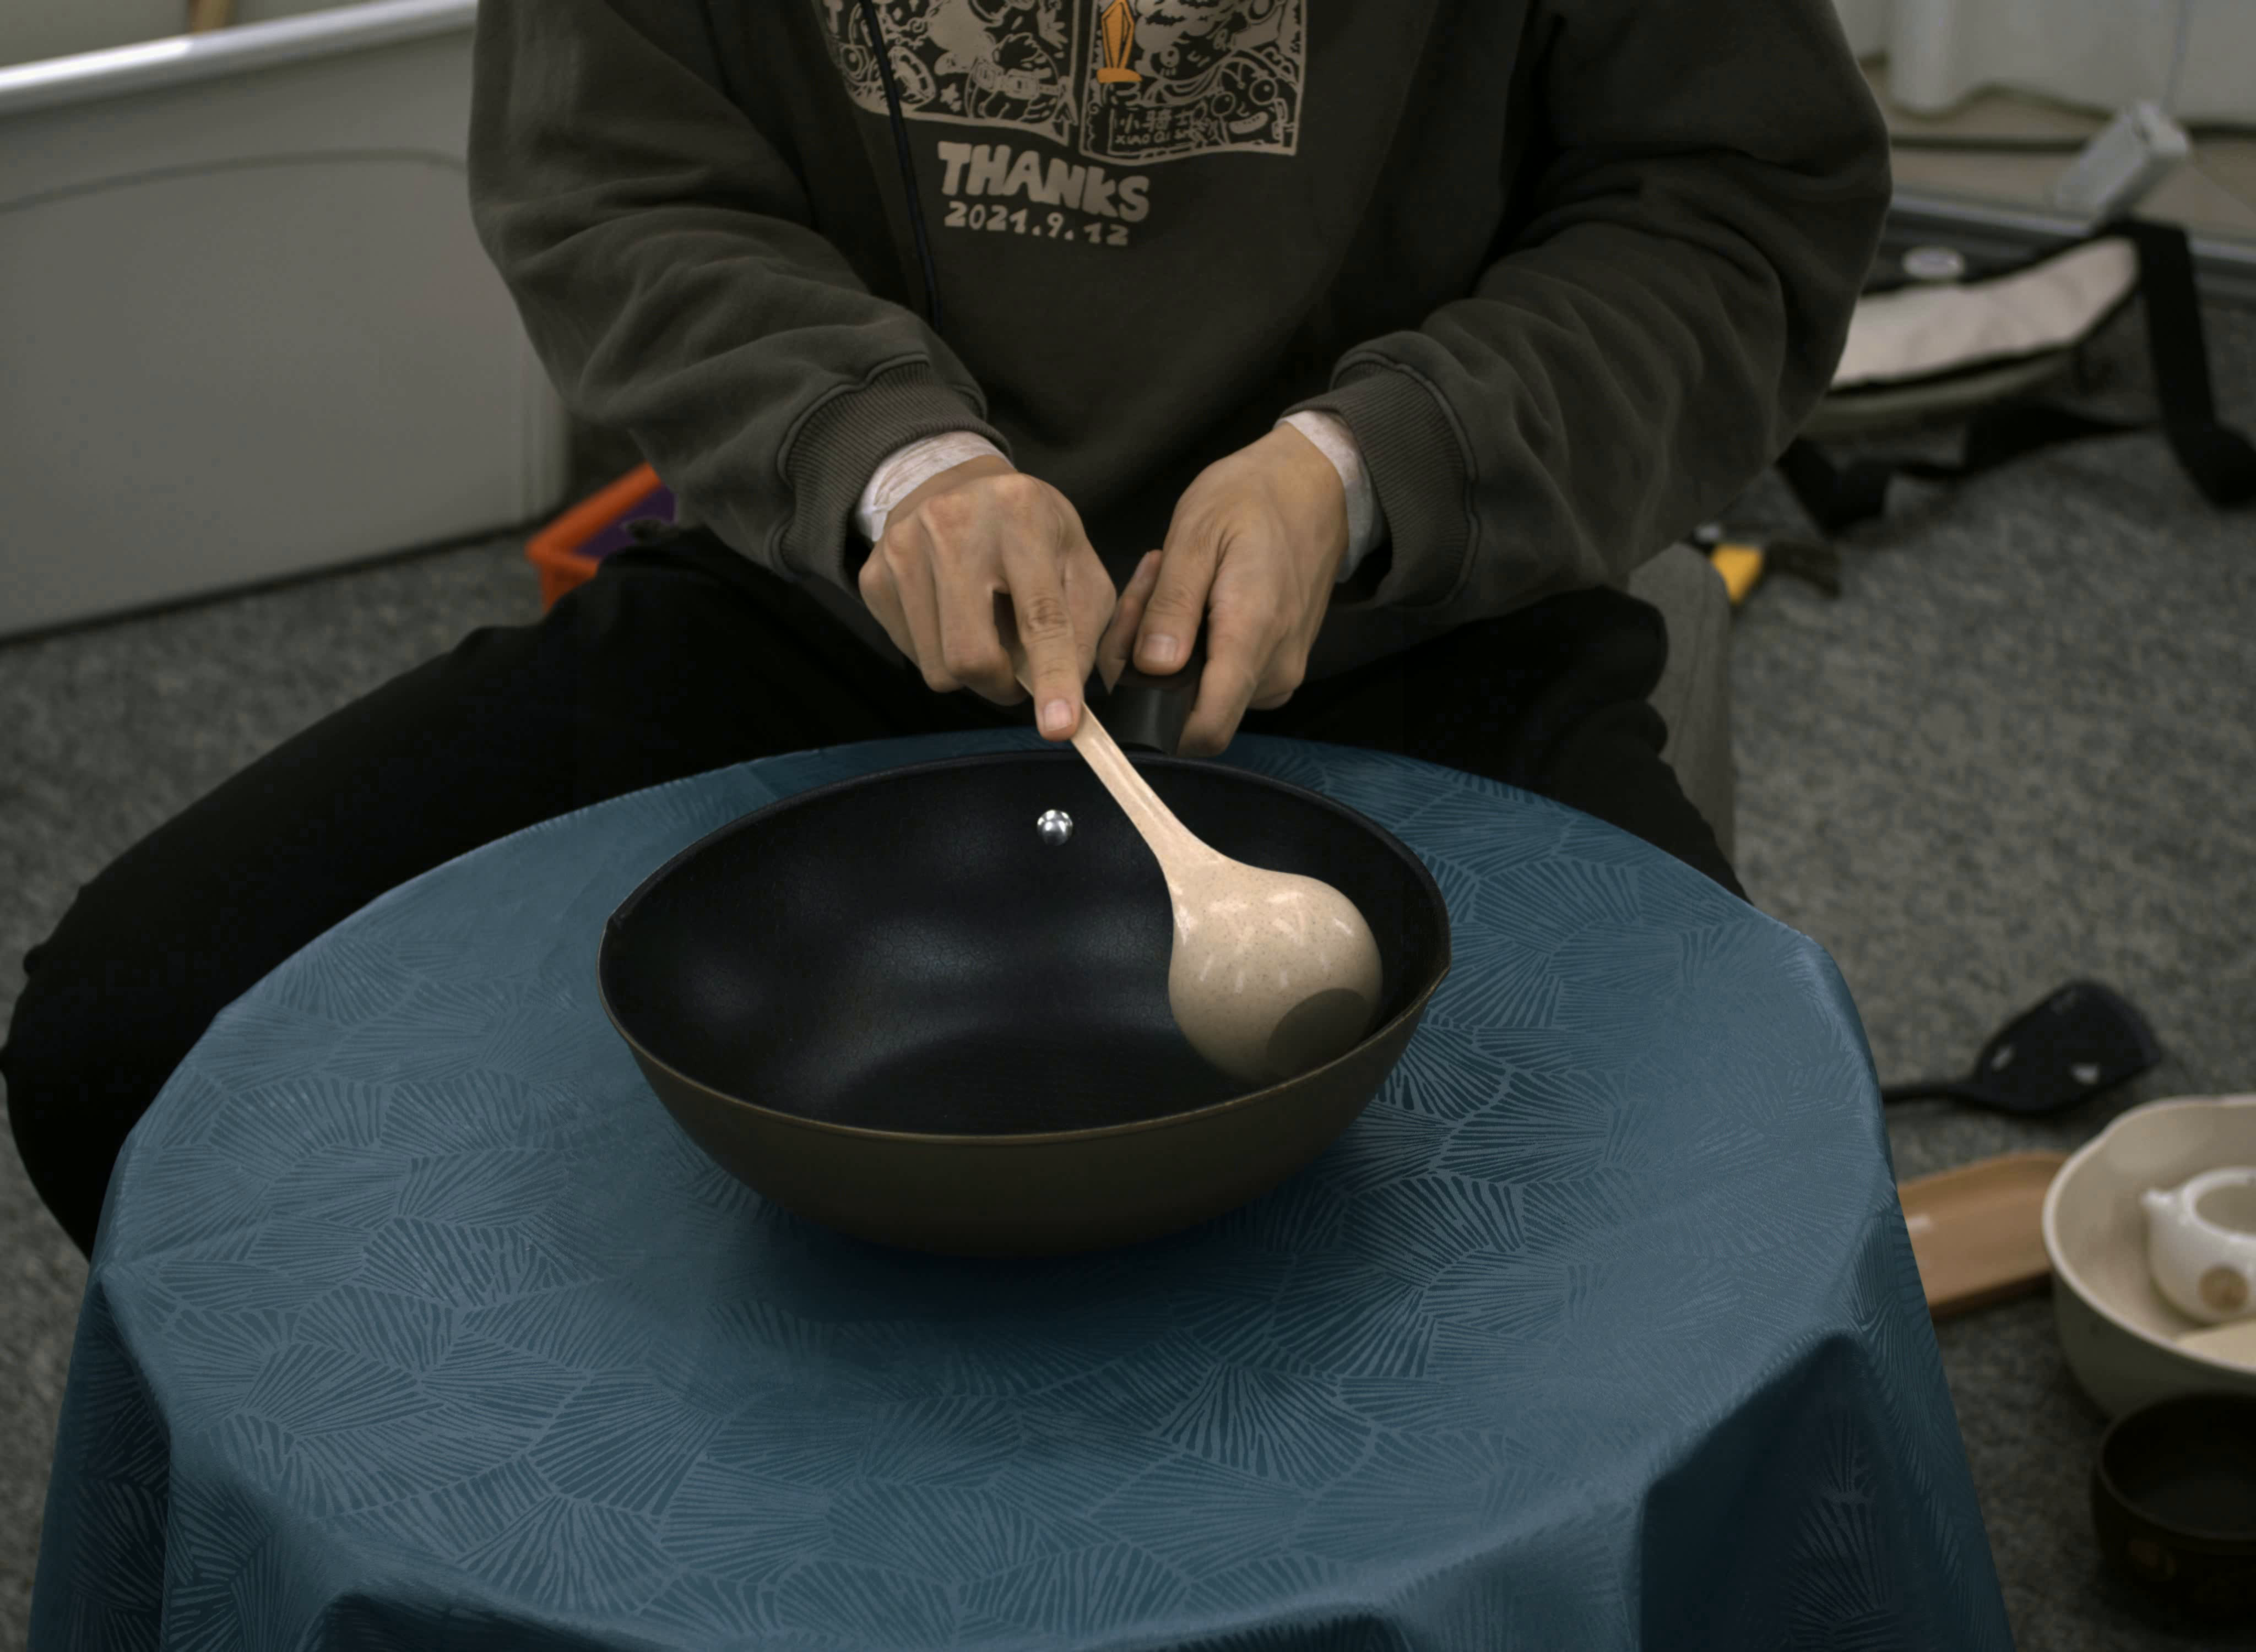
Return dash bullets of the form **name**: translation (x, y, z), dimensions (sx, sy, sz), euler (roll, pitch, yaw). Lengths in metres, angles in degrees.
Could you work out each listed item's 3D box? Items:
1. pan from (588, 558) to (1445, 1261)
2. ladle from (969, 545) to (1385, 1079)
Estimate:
- **pan**: translation (-0.015, 0.030, 1.951), dimensions (0.286, 0.086, 0.471), euler (4, 26, 13)
- **ladle**: translation (0.011, -0.004, 1.945), dimensions (0.072, 0.072, 0.257), euler (-36, 43, 2)
